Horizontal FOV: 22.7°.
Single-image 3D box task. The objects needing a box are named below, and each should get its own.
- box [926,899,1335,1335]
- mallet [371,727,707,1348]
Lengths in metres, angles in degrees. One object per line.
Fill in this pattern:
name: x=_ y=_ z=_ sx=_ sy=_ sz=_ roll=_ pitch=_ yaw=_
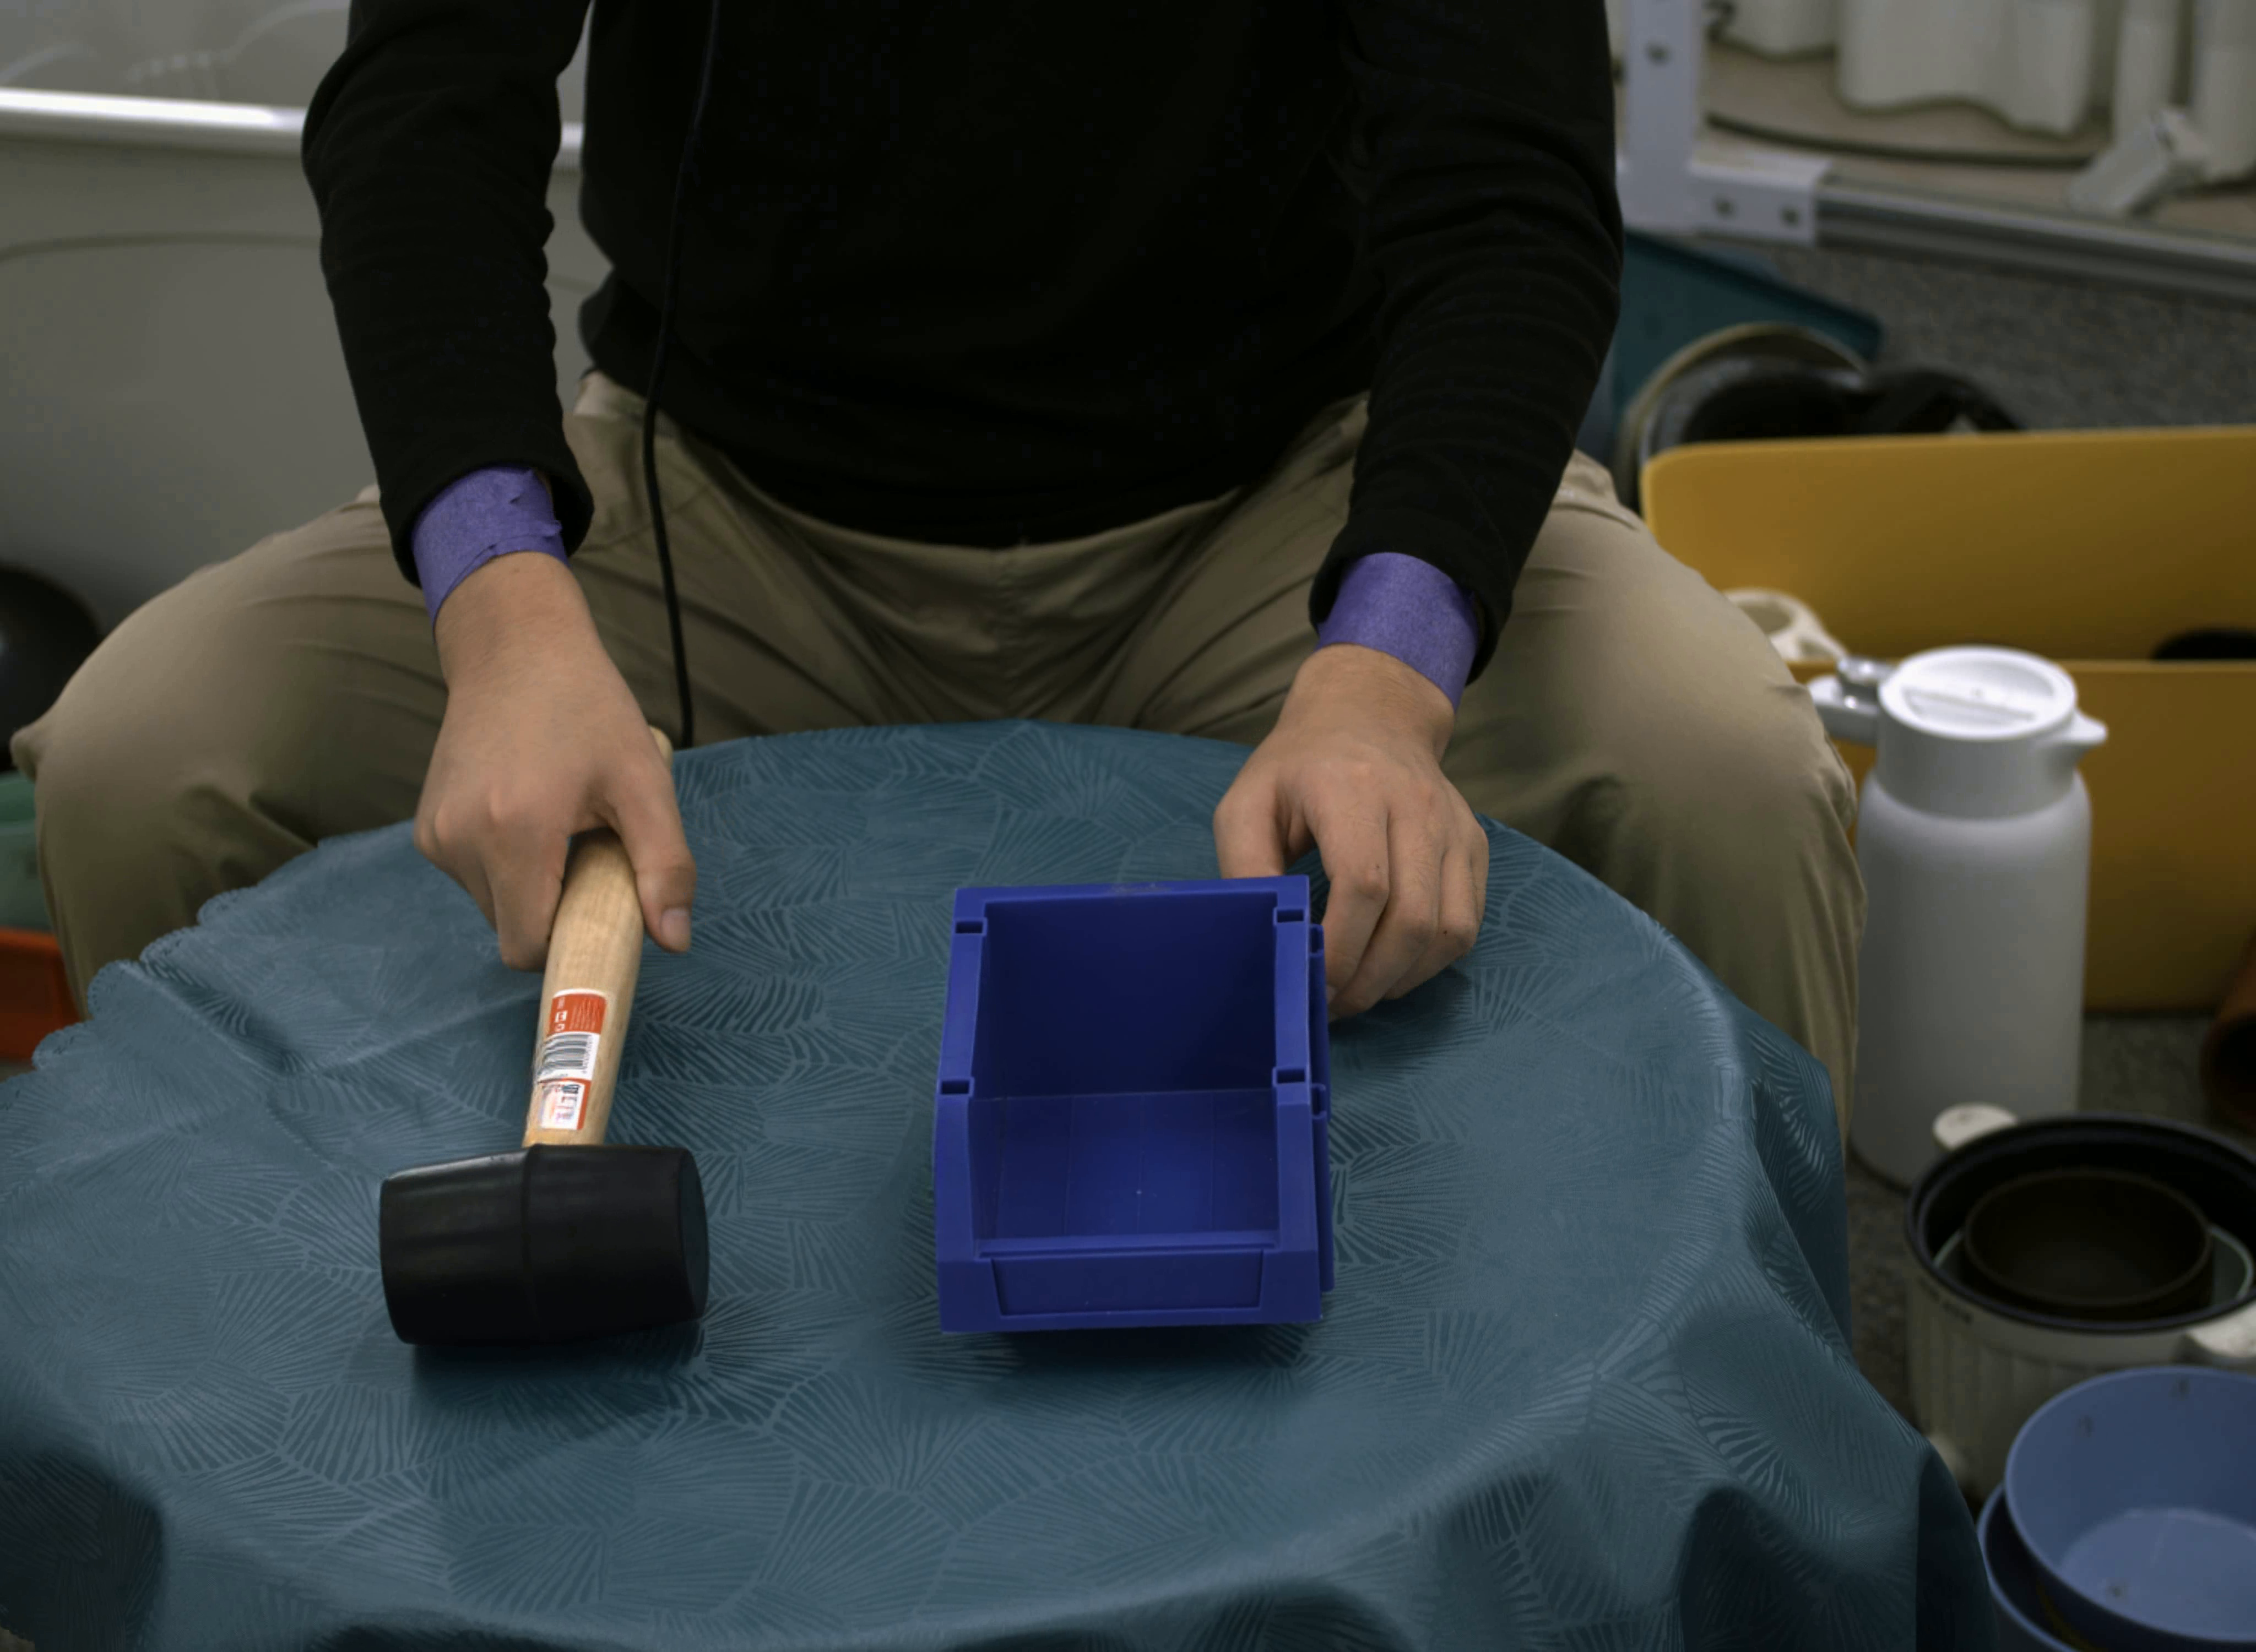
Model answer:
box: x=0.003 y=0.099 z=1.814 sx=0.124 sy=0.081 sz=0.182 roll=-1 pitch=24 yaw=3
mallet: x=-0.184 y=0.056 z=1.900 sx=0.101 sy=0.063 sz=0.345 roll=-3 pitch=34 yaw=3
